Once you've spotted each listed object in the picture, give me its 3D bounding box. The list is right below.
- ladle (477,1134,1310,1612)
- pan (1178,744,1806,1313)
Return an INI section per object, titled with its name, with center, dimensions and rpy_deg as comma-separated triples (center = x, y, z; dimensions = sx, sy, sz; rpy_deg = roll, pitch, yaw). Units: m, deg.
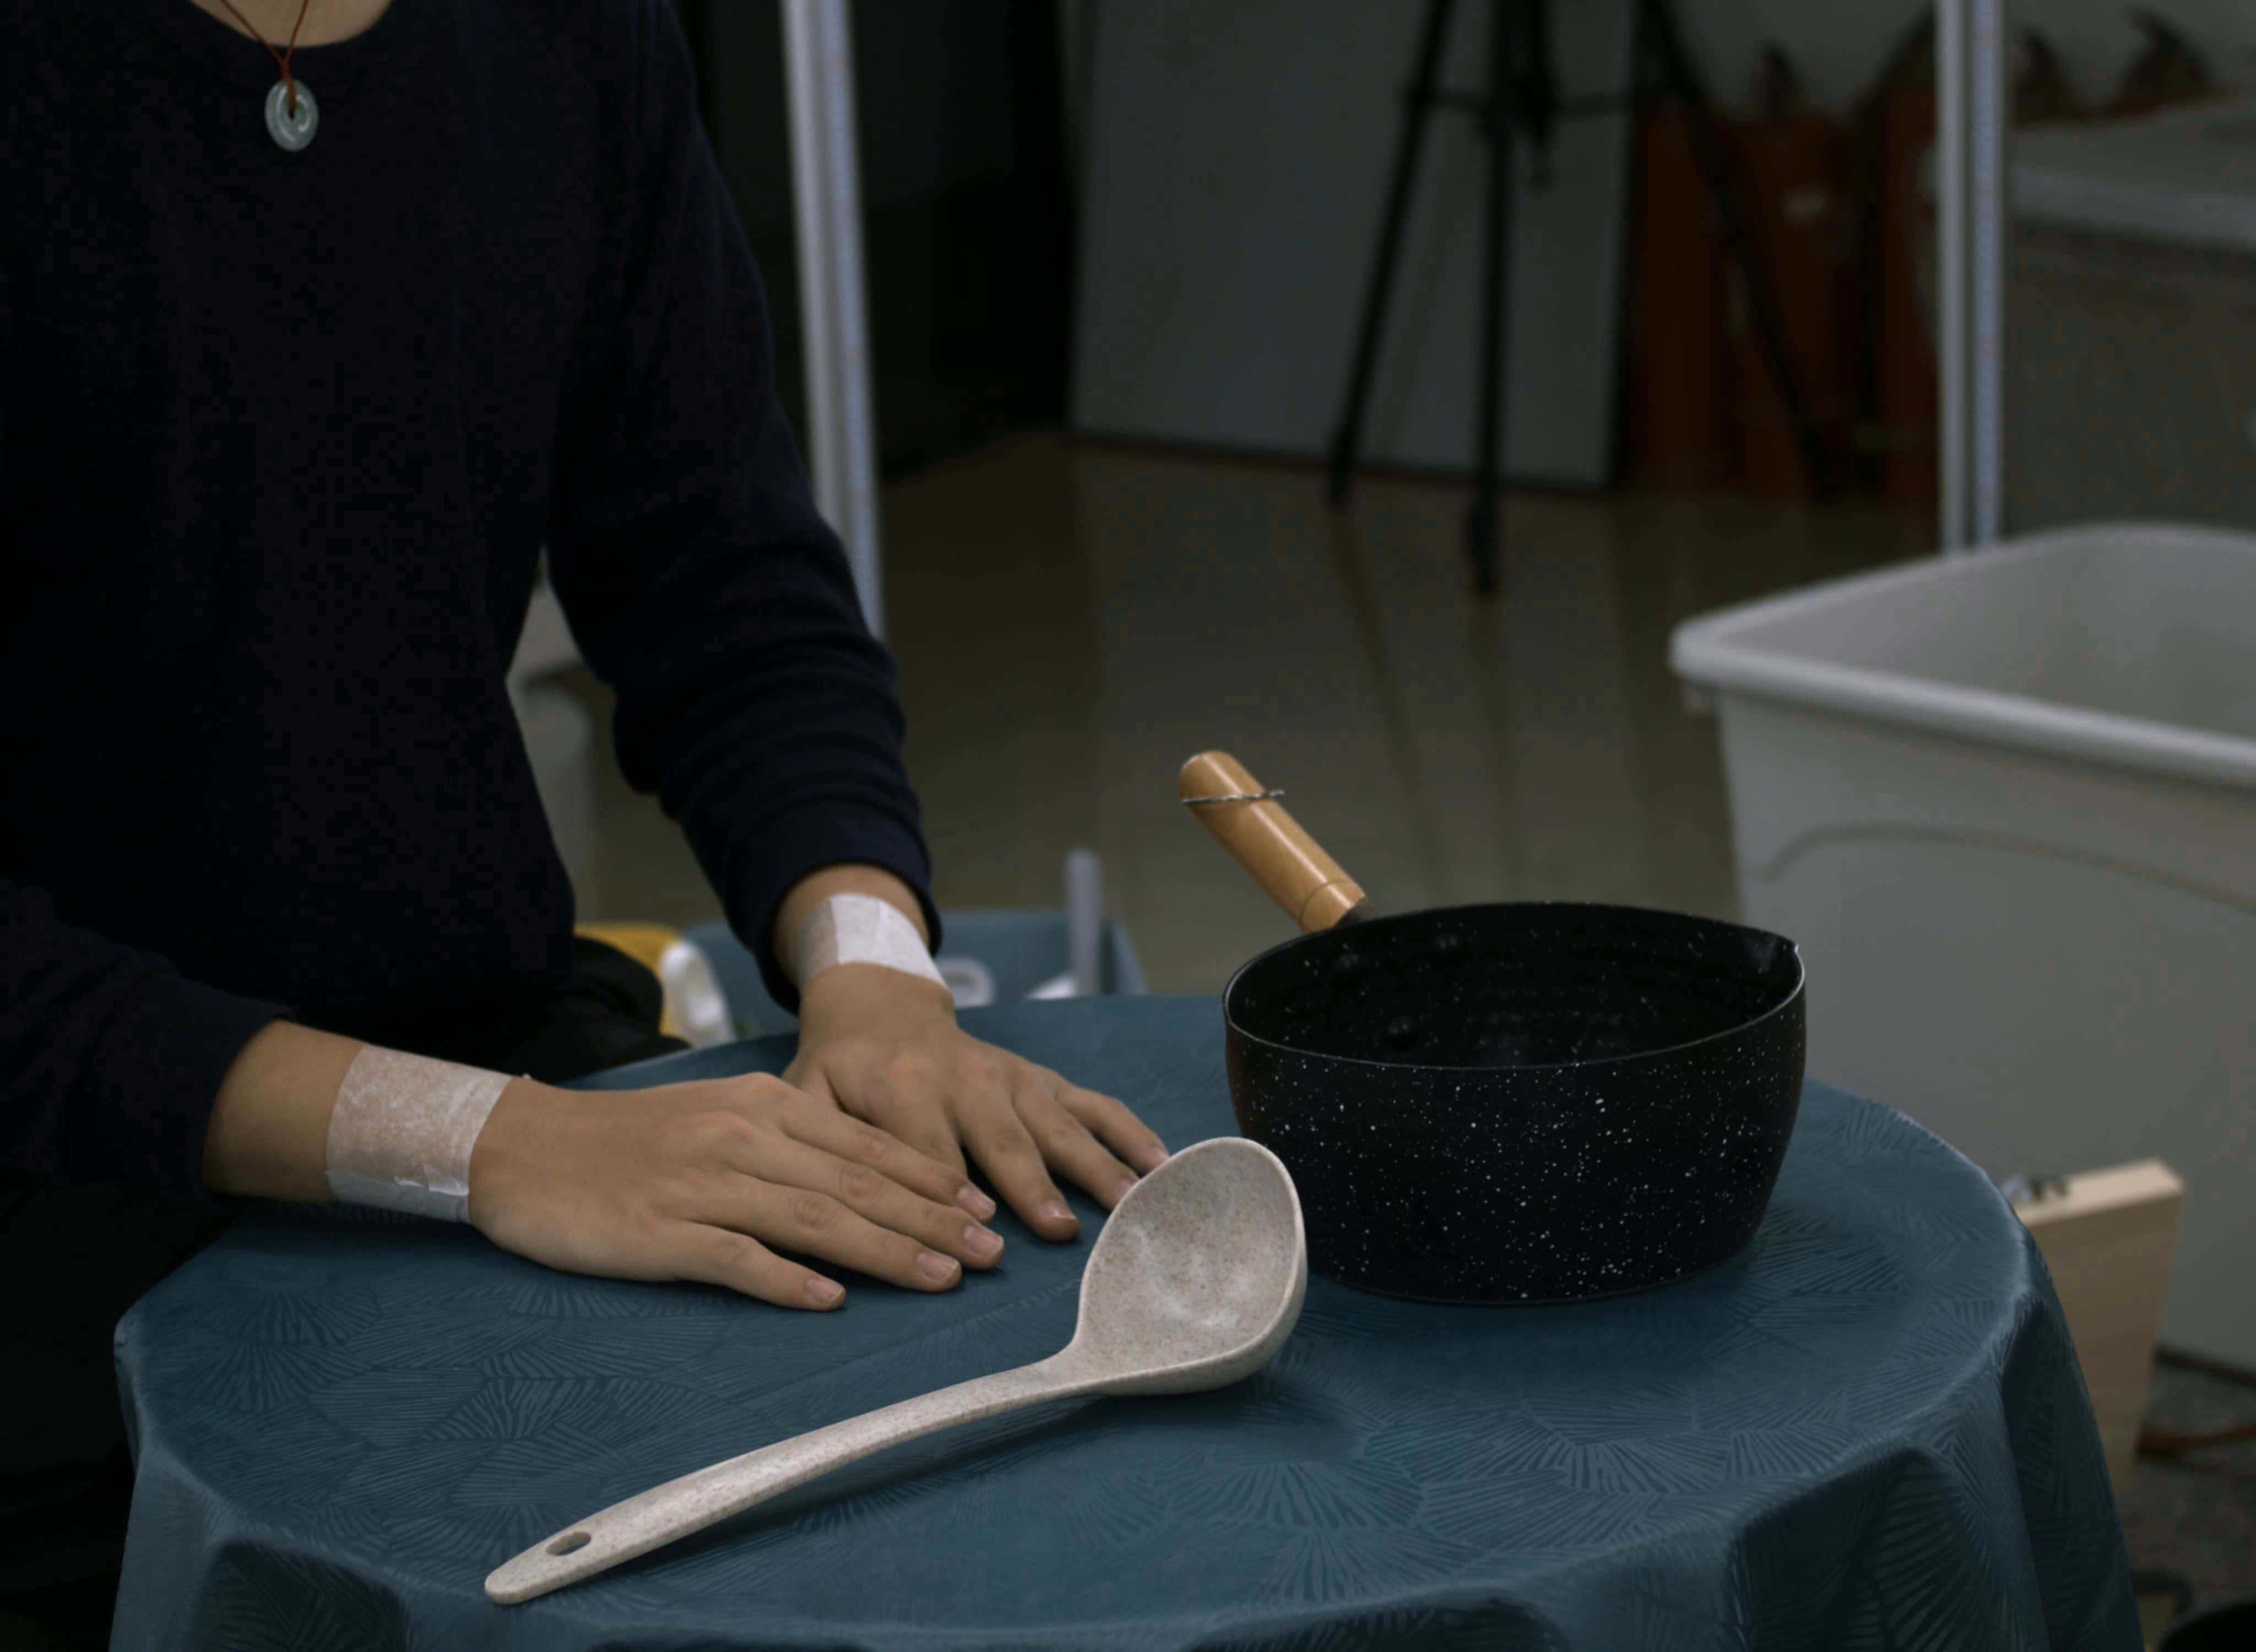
[ladle]
center = -0.066, 0.151, 1.526
dimensions = 0.269, 0.070, 0.090
rpy_deg = -14, 23, -33
[pan]
center = 0.091, 0.060, 1.763
dimensions = 0.203, 0.109, 0.346
rpy_deg = -10, 16, -21
